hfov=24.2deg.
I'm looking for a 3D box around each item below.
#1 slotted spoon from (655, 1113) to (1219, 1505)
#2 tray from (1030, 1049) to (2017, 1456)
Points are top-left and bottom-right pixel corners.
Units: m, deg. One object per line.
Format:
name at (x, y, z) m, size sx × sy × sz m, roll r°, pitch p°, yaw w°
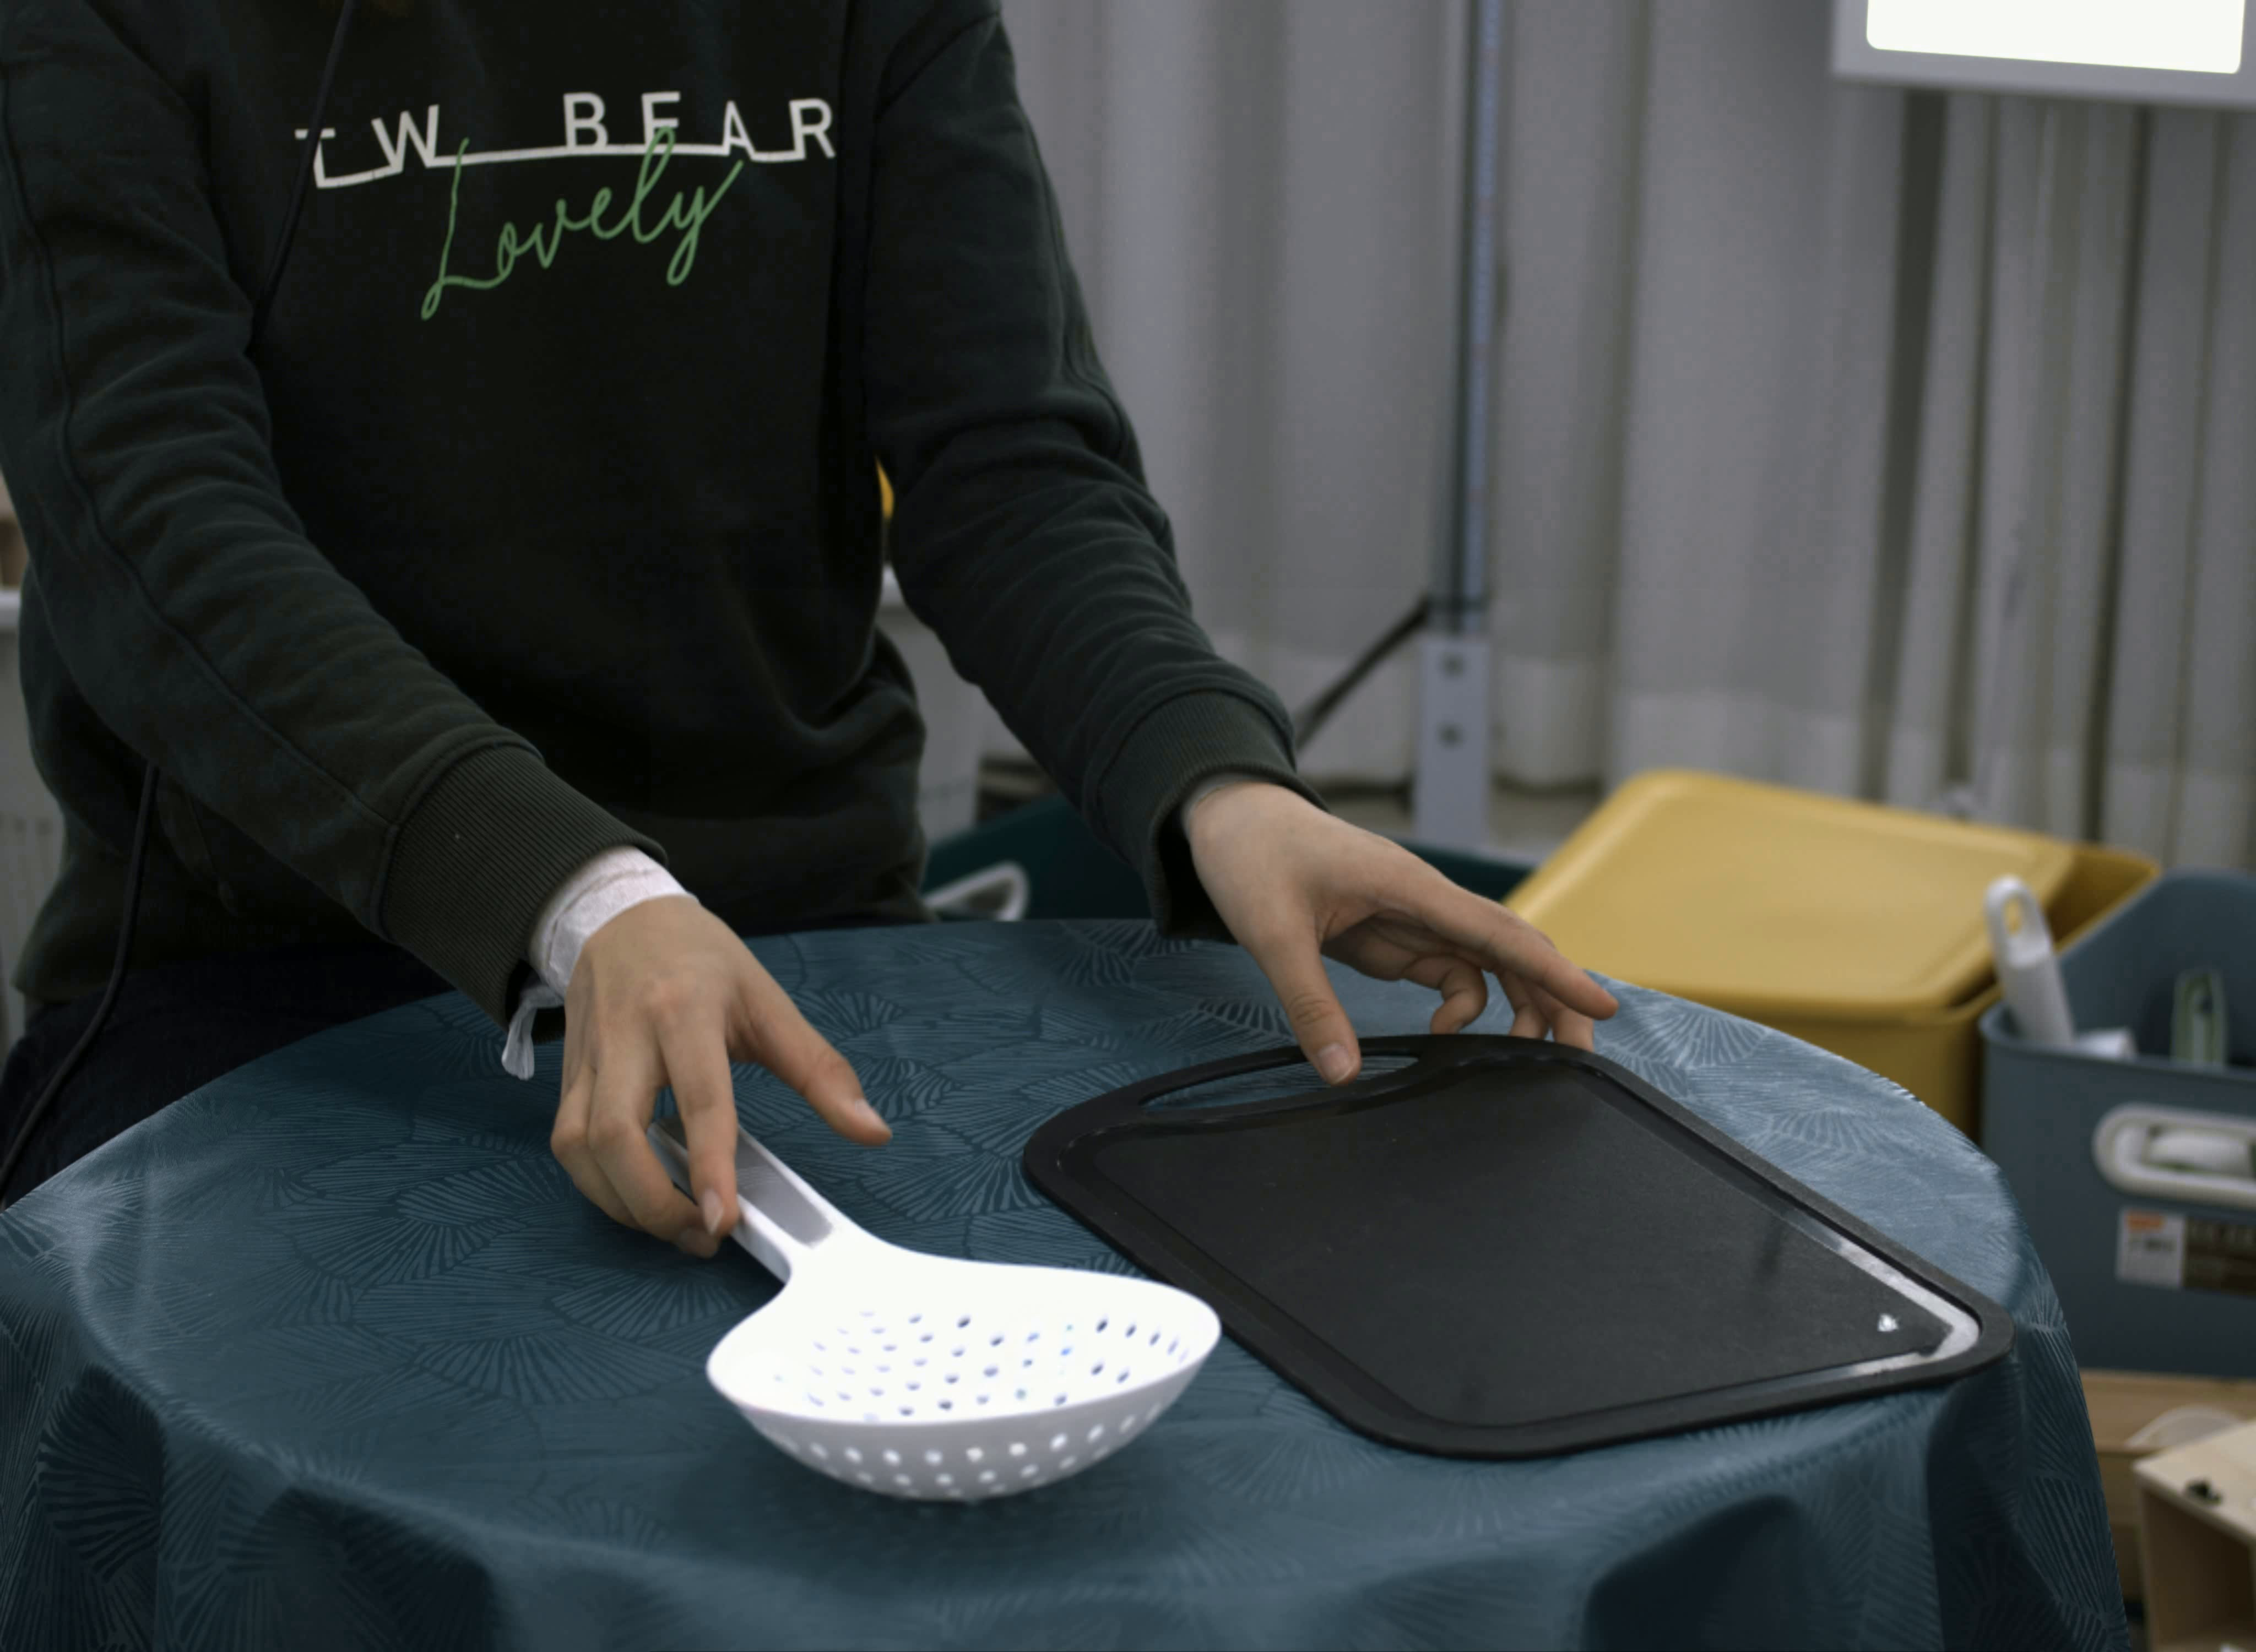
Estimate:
slotted spoon at (-0.080, 0.127, 1.489) m, size 0.136 × 0.046 × 0.346 m, roll -6°, pitch 16°, yaw -19°
tray at (0.107, 0.120, 1.585) m, size 0.212 × 0.010 × 0.321 m, roll -7°, pitch 18°, yaw -24°
